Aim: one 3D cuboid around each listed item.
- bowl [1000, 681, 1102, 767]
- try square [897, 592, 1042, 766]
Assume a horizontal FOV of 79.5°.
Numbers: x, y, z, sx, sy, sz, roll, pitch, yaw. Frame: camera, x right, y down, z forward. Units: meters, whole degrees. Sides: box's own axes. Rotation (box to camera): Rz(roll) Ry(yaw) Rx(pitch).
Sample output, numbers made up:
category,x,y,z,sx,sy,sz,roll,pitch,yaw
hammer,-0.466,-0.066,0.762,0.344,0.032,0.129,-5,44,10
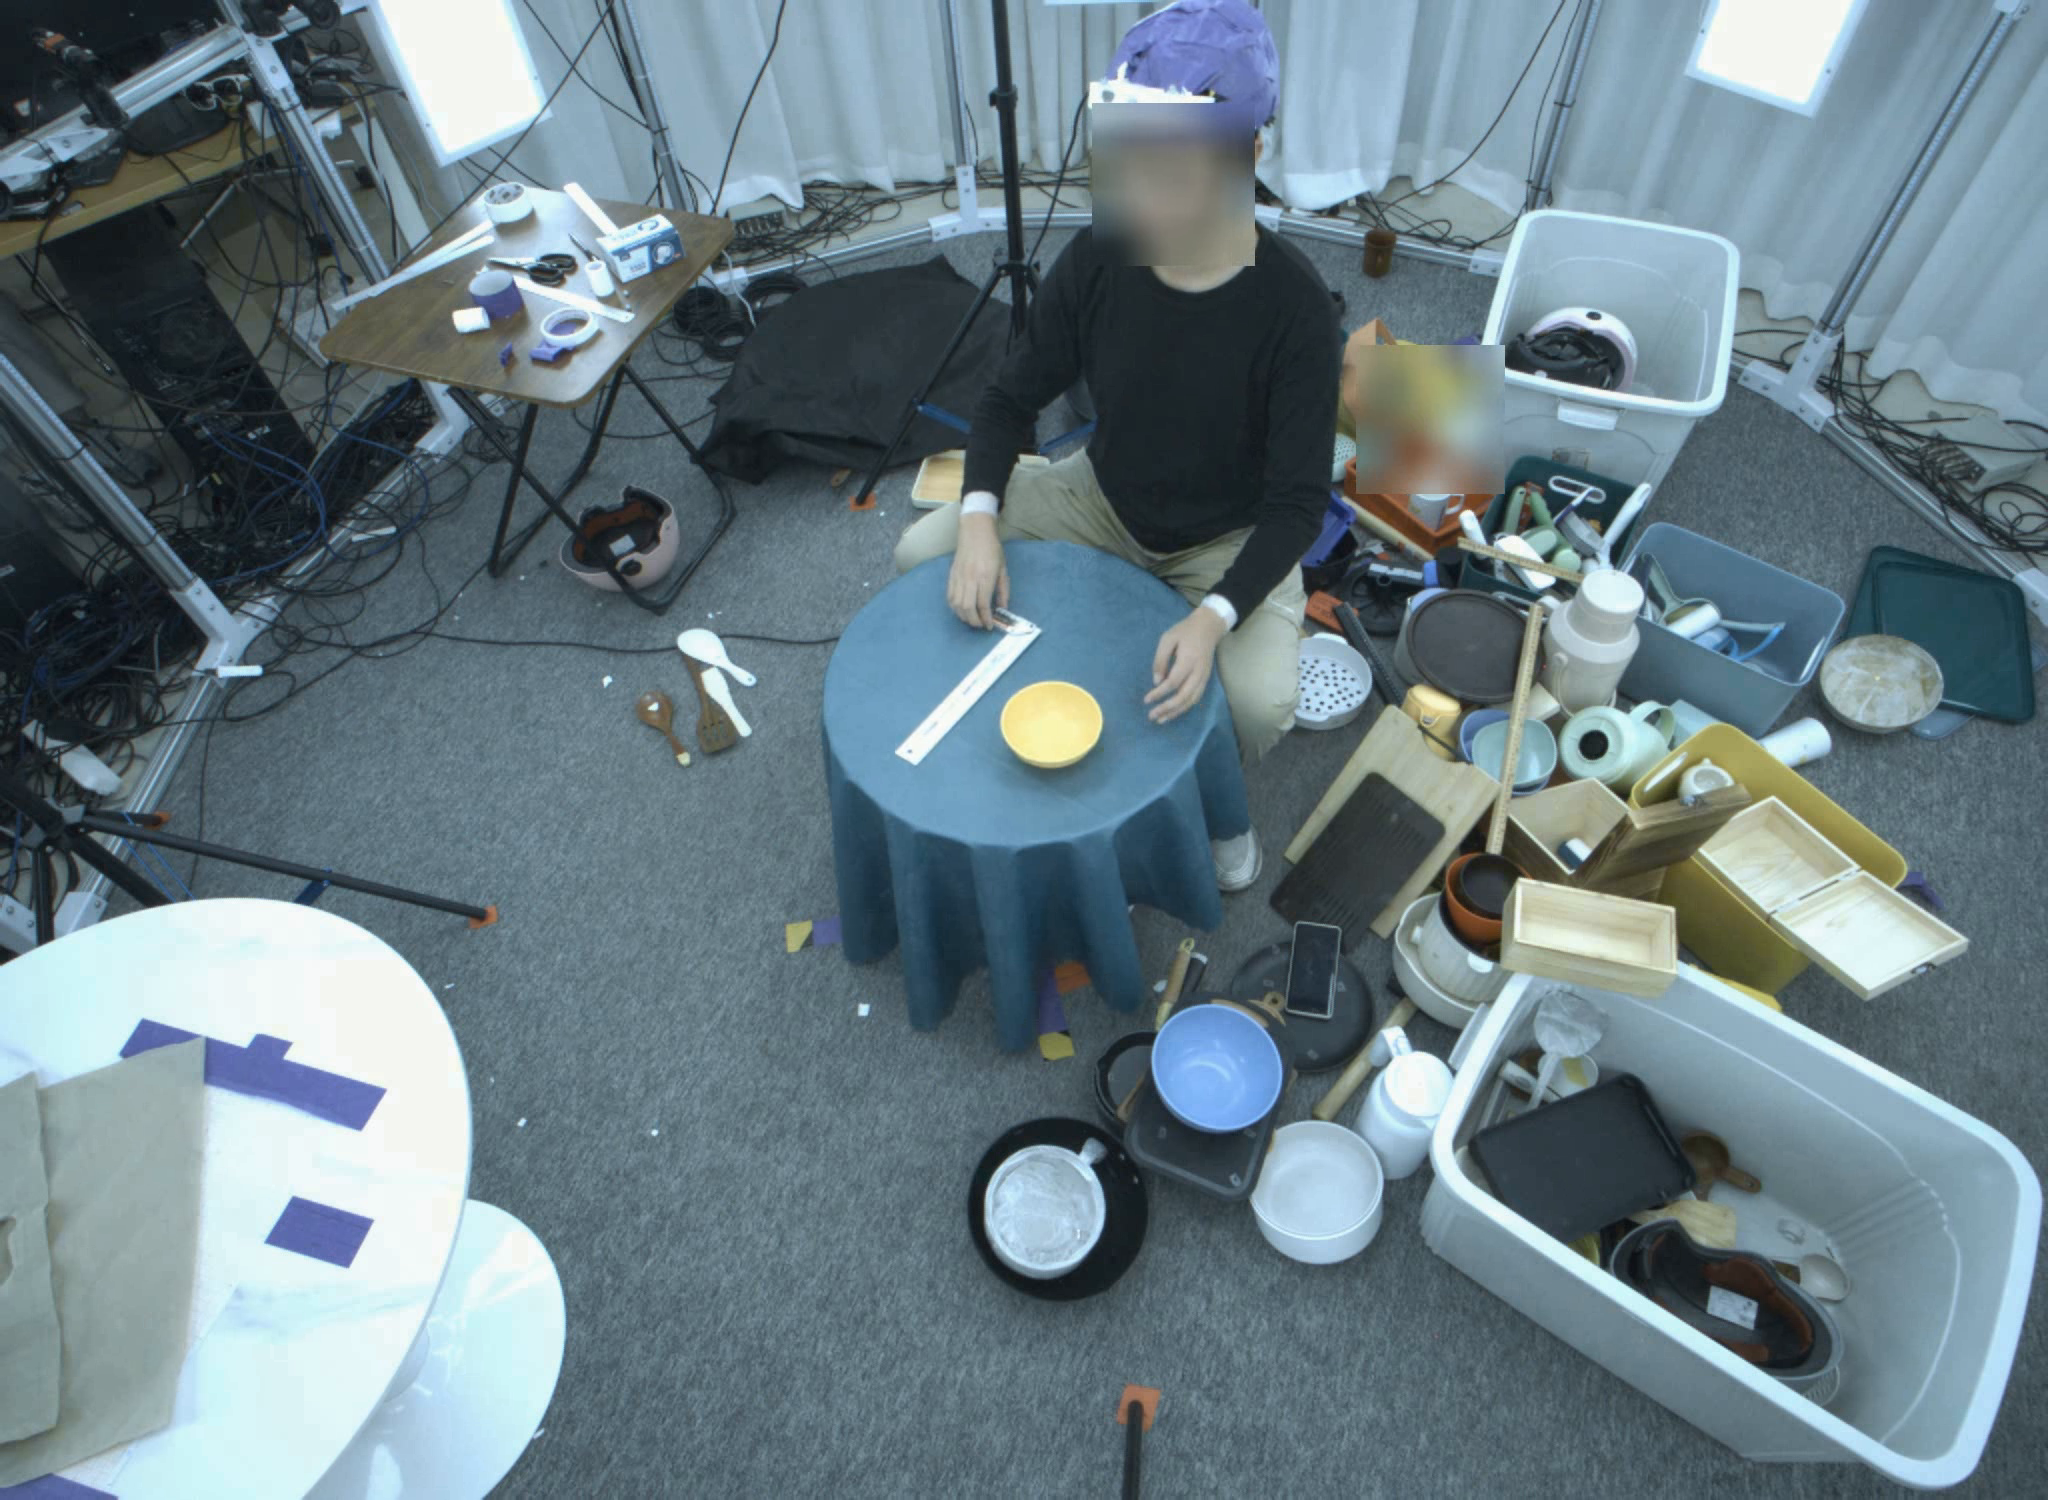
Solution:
category,x,y,z,sx,sy,sz,roll,pitch,yaw
bowl,0.039,-0.026,1.771,0.145,0.060,0.144,1,55,0
try square,-0.122,-0.115,1.872,0.149,0.016,0.314,28,61,24
